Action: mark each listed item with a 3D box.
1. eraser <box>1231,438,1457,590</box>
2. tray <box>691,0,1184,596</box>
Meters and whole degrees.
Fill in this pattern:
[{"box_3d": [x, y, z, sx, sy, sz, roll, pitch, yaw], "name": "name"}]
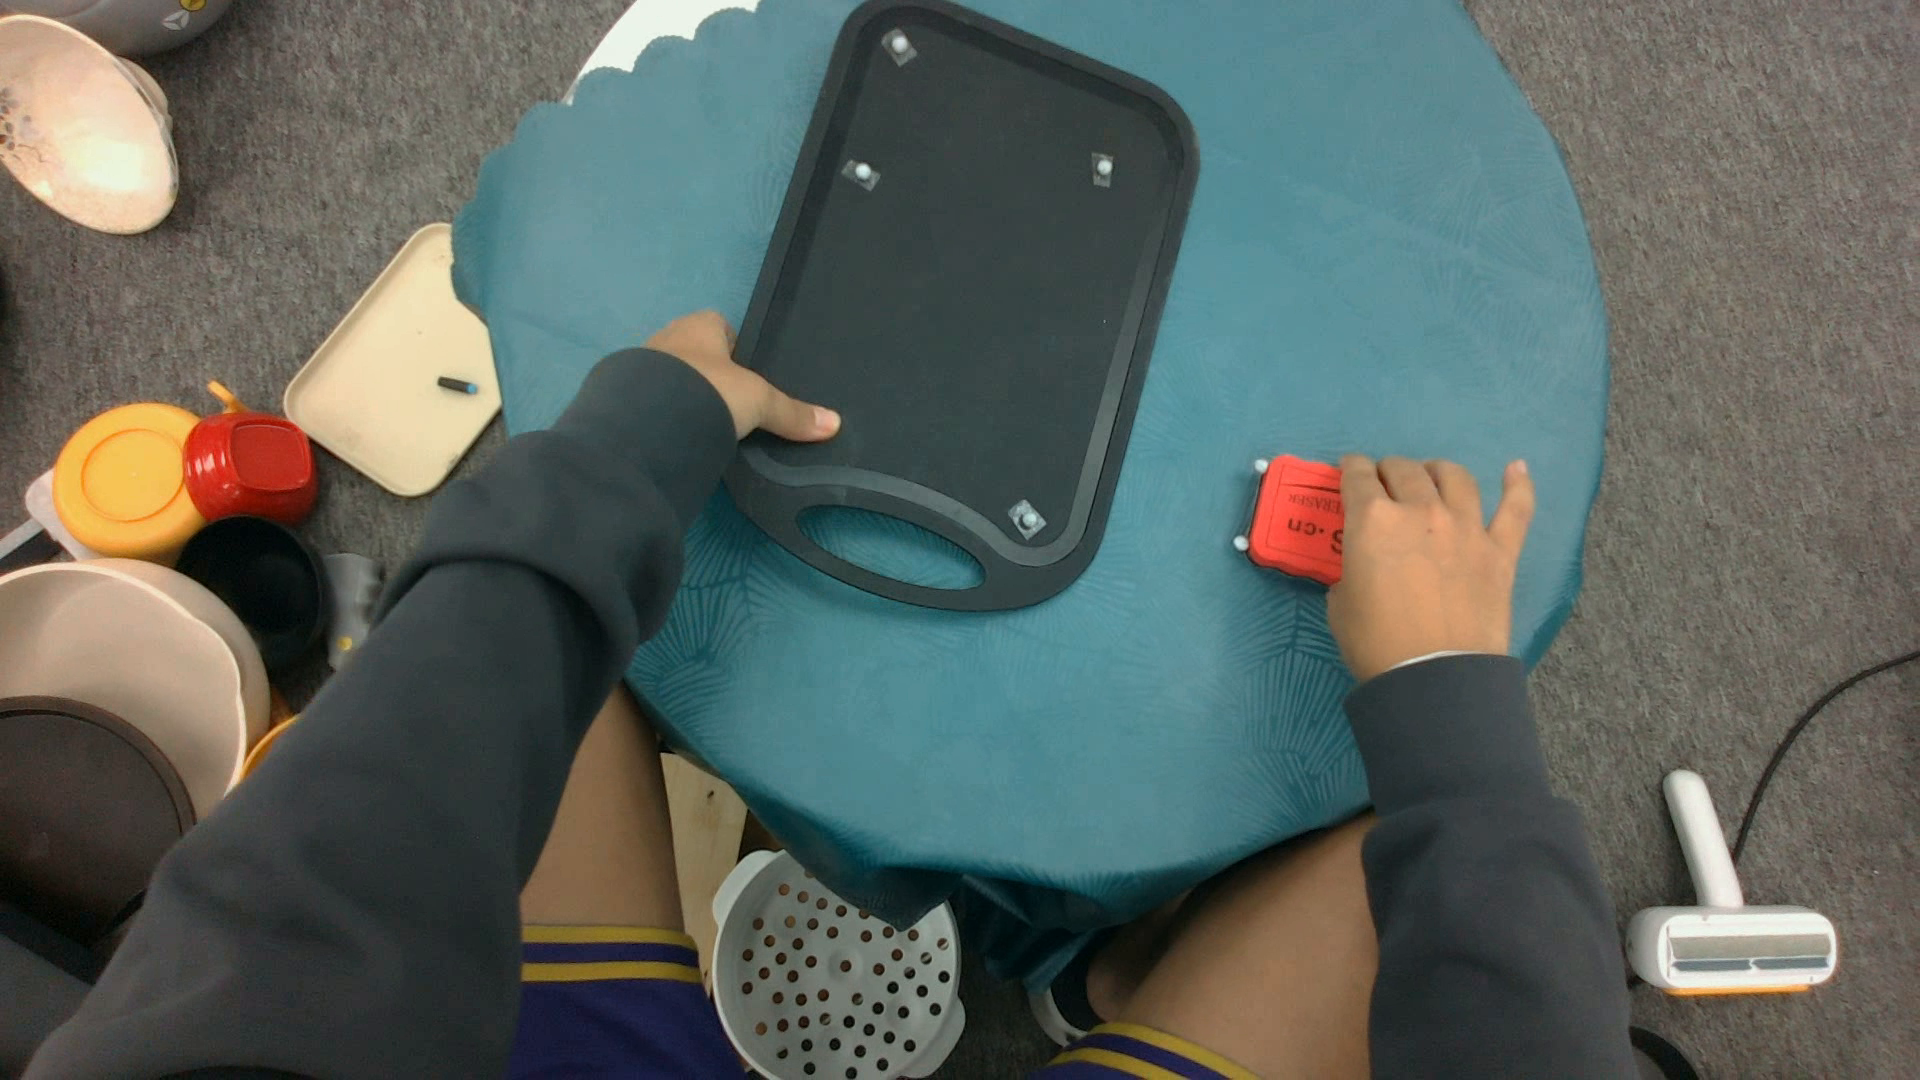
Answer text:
[{"box_3d": [0.198, -0.013, 0.711, 0.108, 0.023, 0.059, 14, 77, 1], "name": "eraser"}, {"box_3d": [-0.005, -0.132, 0.713, 0.211, 0.010, 0.326, 19, 76, -12], "name": "tray"}]
